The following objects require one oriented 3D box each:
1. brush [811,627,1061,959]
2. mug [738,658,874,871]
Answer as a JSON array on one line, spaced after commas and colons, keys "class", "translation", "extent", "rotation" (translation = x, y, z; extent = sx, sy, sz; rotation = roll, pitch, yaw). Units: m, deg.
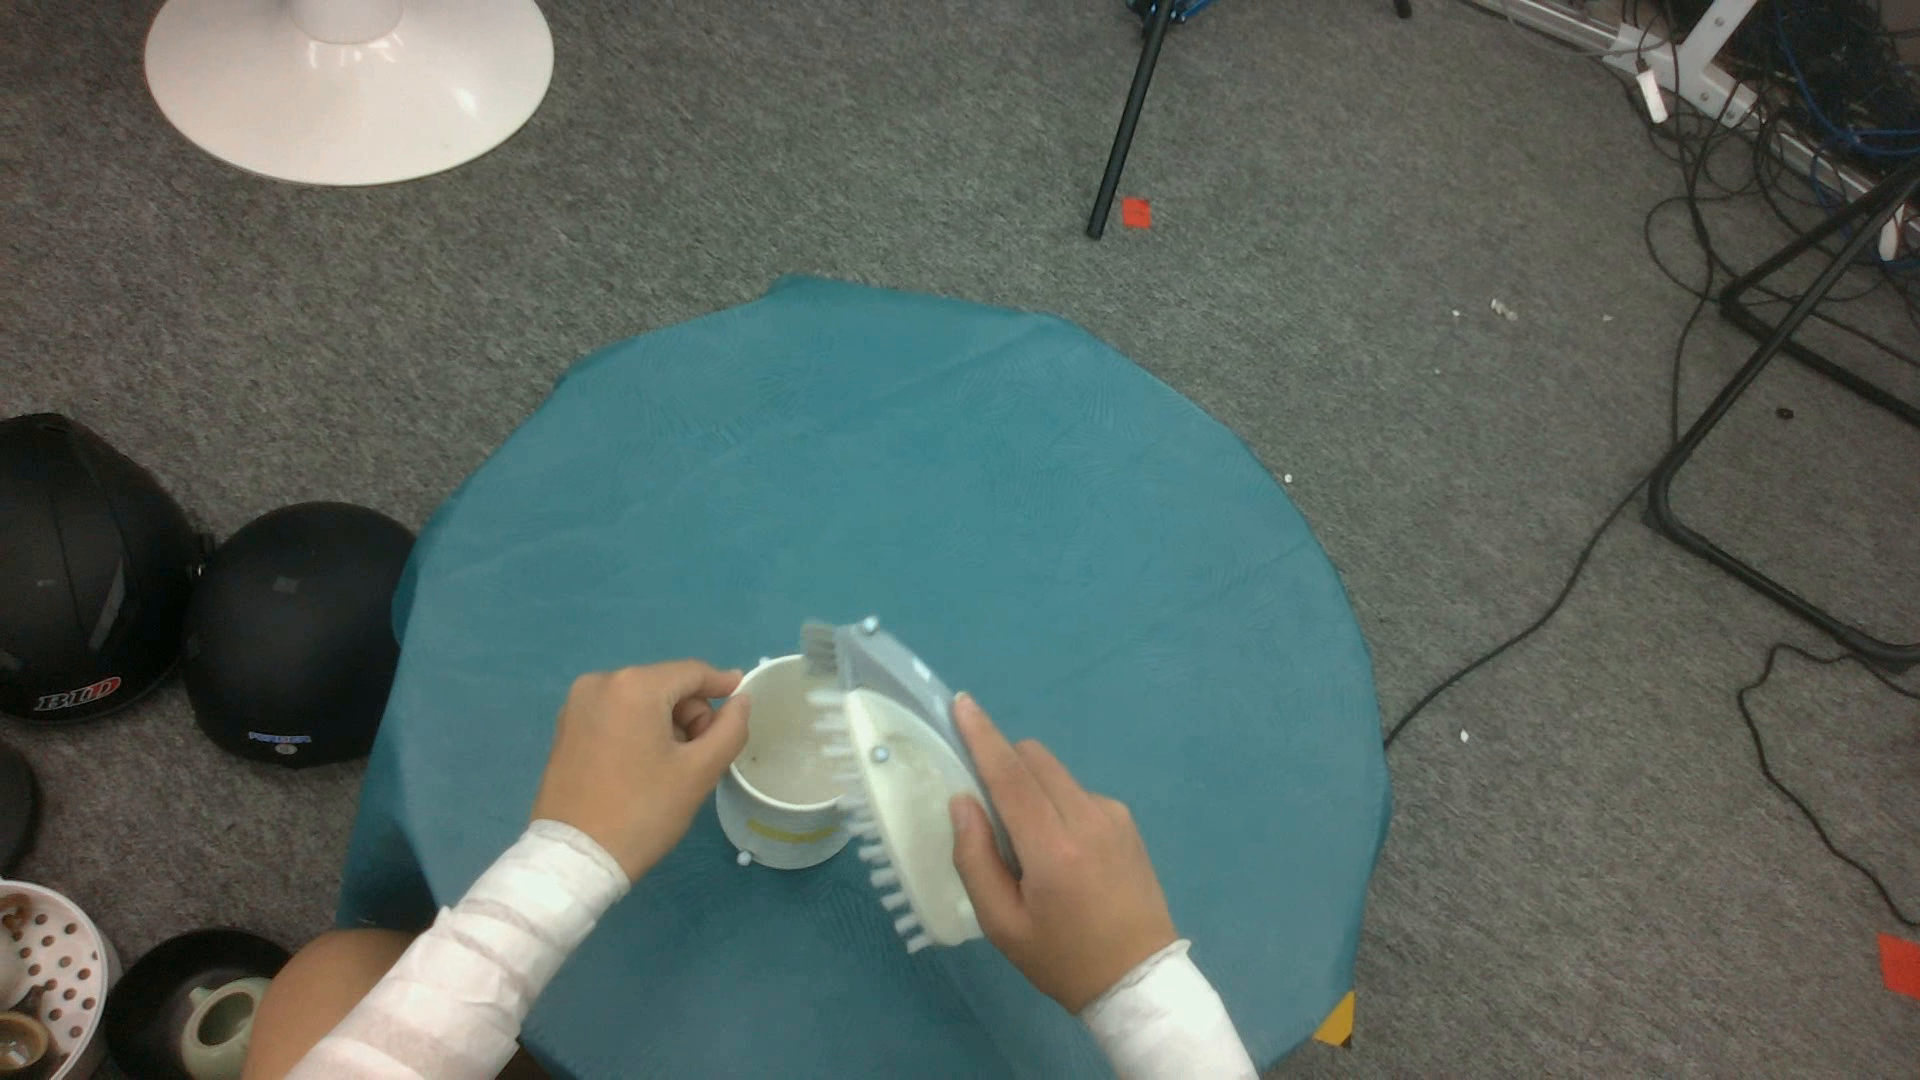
[{"class": "brush", "translation": [-0.009, 0.116, 0.678], "extent": [0.062, 0.094, 0.175], "rotation": [-28, 92, -47]}, {"class": "mug", "translation": [-0.074, 0.113, 0.762], "extent": [0.085, 0.101, 0.119], "rotation": [21, 56, 3]}]
